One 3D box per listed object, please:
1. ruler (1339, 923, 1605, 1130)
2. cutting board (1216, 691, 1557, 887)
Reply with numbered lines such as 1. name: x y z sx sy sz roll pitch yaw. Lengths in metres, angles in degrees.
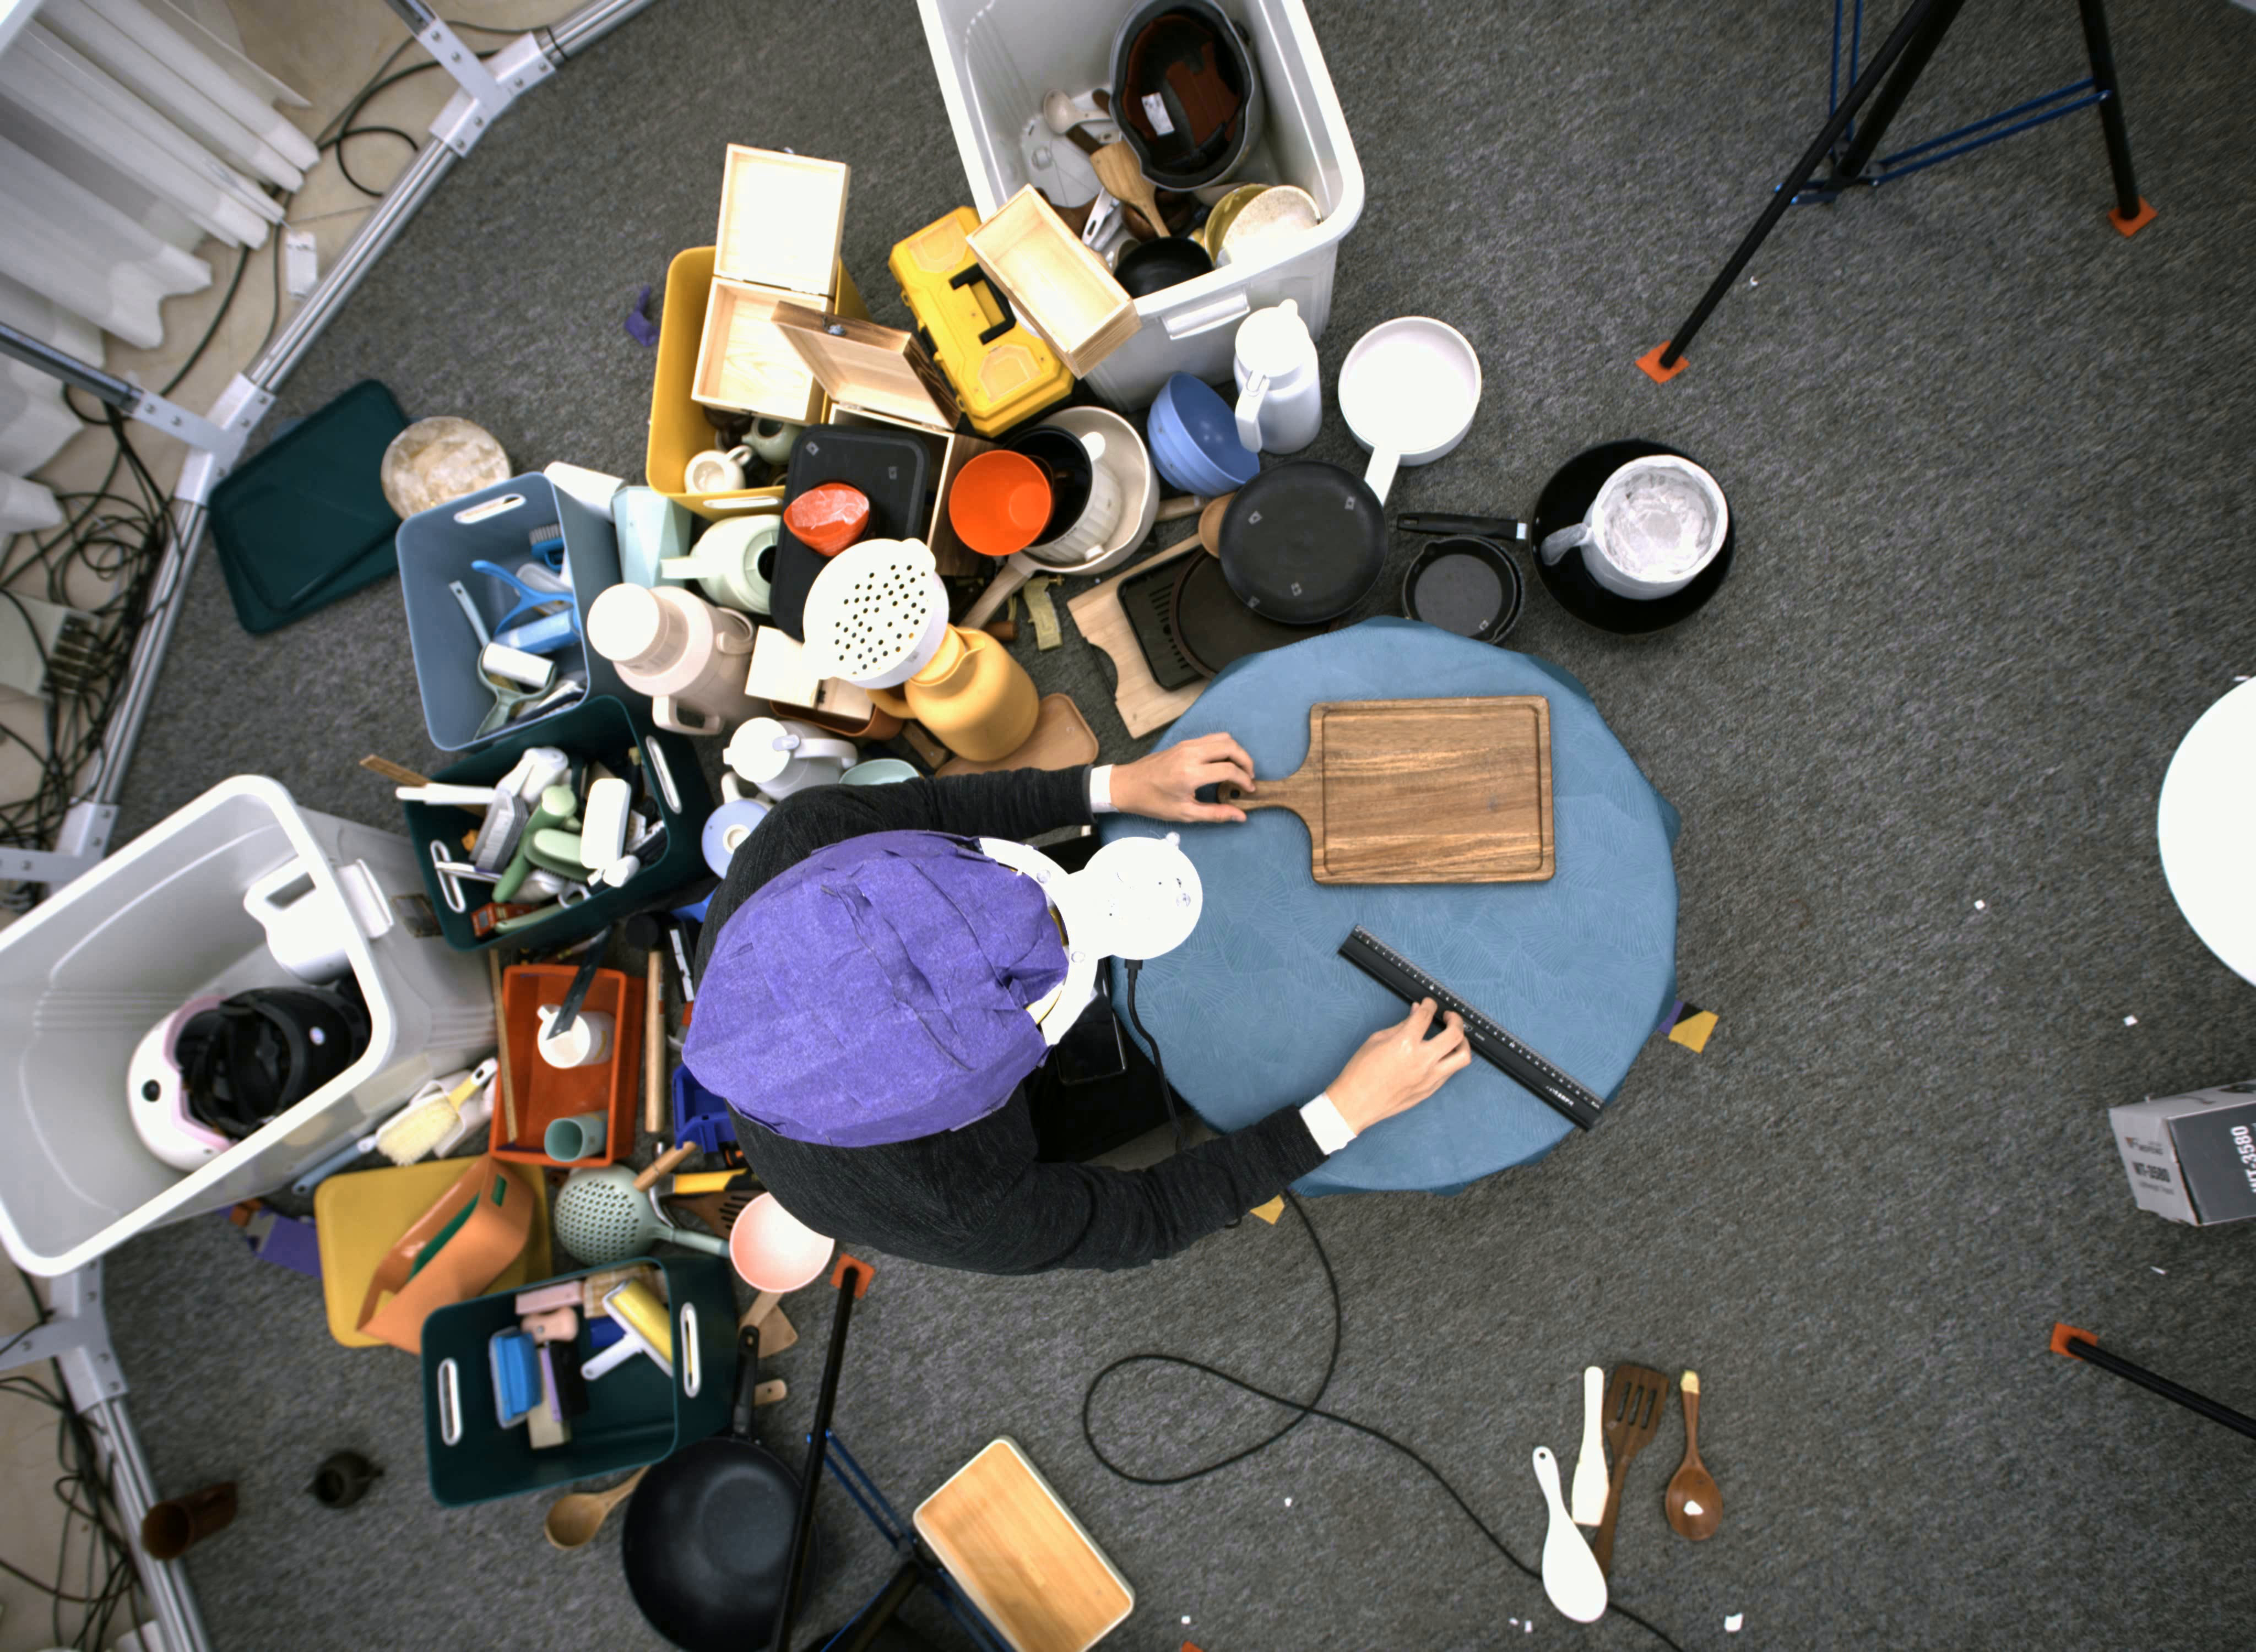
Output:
1. ruler: 0.356 0.204 1.429 0.311 0.017 0.039 36 91 11
2. cutting board: 0.268 -0.038 1.456 0.353 0.023 0.200 -2 86 11
